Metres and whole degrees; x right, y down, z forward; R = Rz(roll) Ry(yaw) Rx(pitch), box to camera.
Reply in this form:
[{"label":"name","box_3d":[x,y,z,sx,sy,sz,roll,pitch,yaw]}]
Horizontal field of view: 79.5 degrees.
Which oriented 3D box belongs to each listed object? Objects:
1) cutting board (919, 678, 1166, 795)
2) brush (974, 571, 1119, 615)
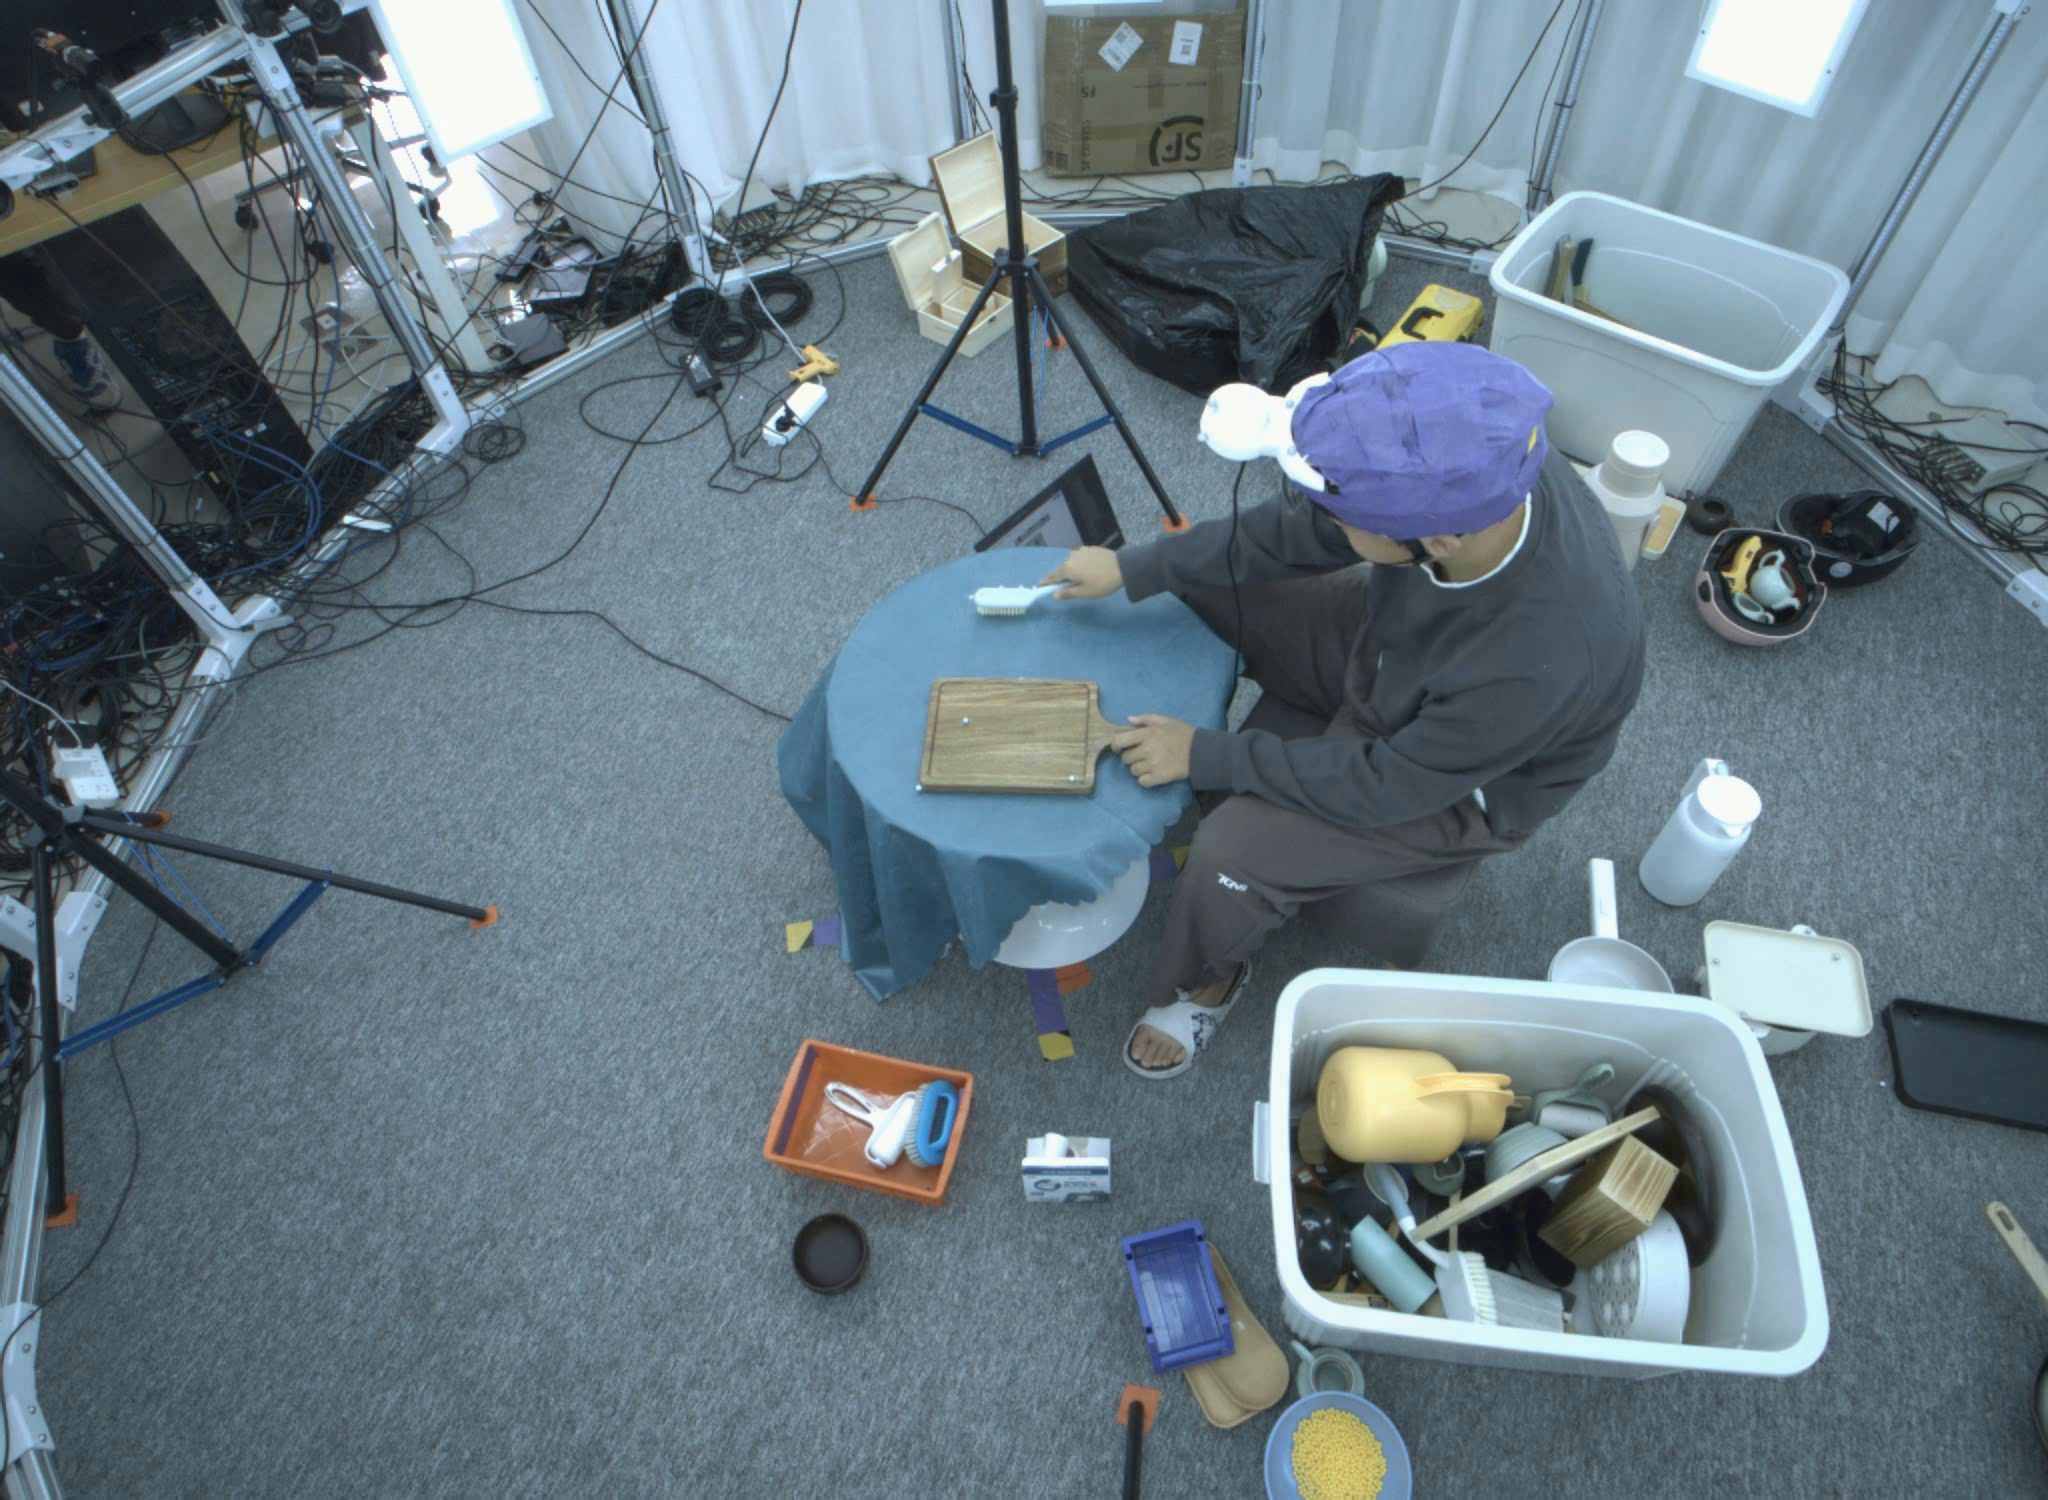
[{"label":"cutting board","box_3d":[0.030,-0.021,1.789,0.351,0.023,0.199,2,55,2]},{"label":"brush","box_3d":[0.035,-0.245,1.917,0.227,0.050,0.037,-10,55,9]}]
